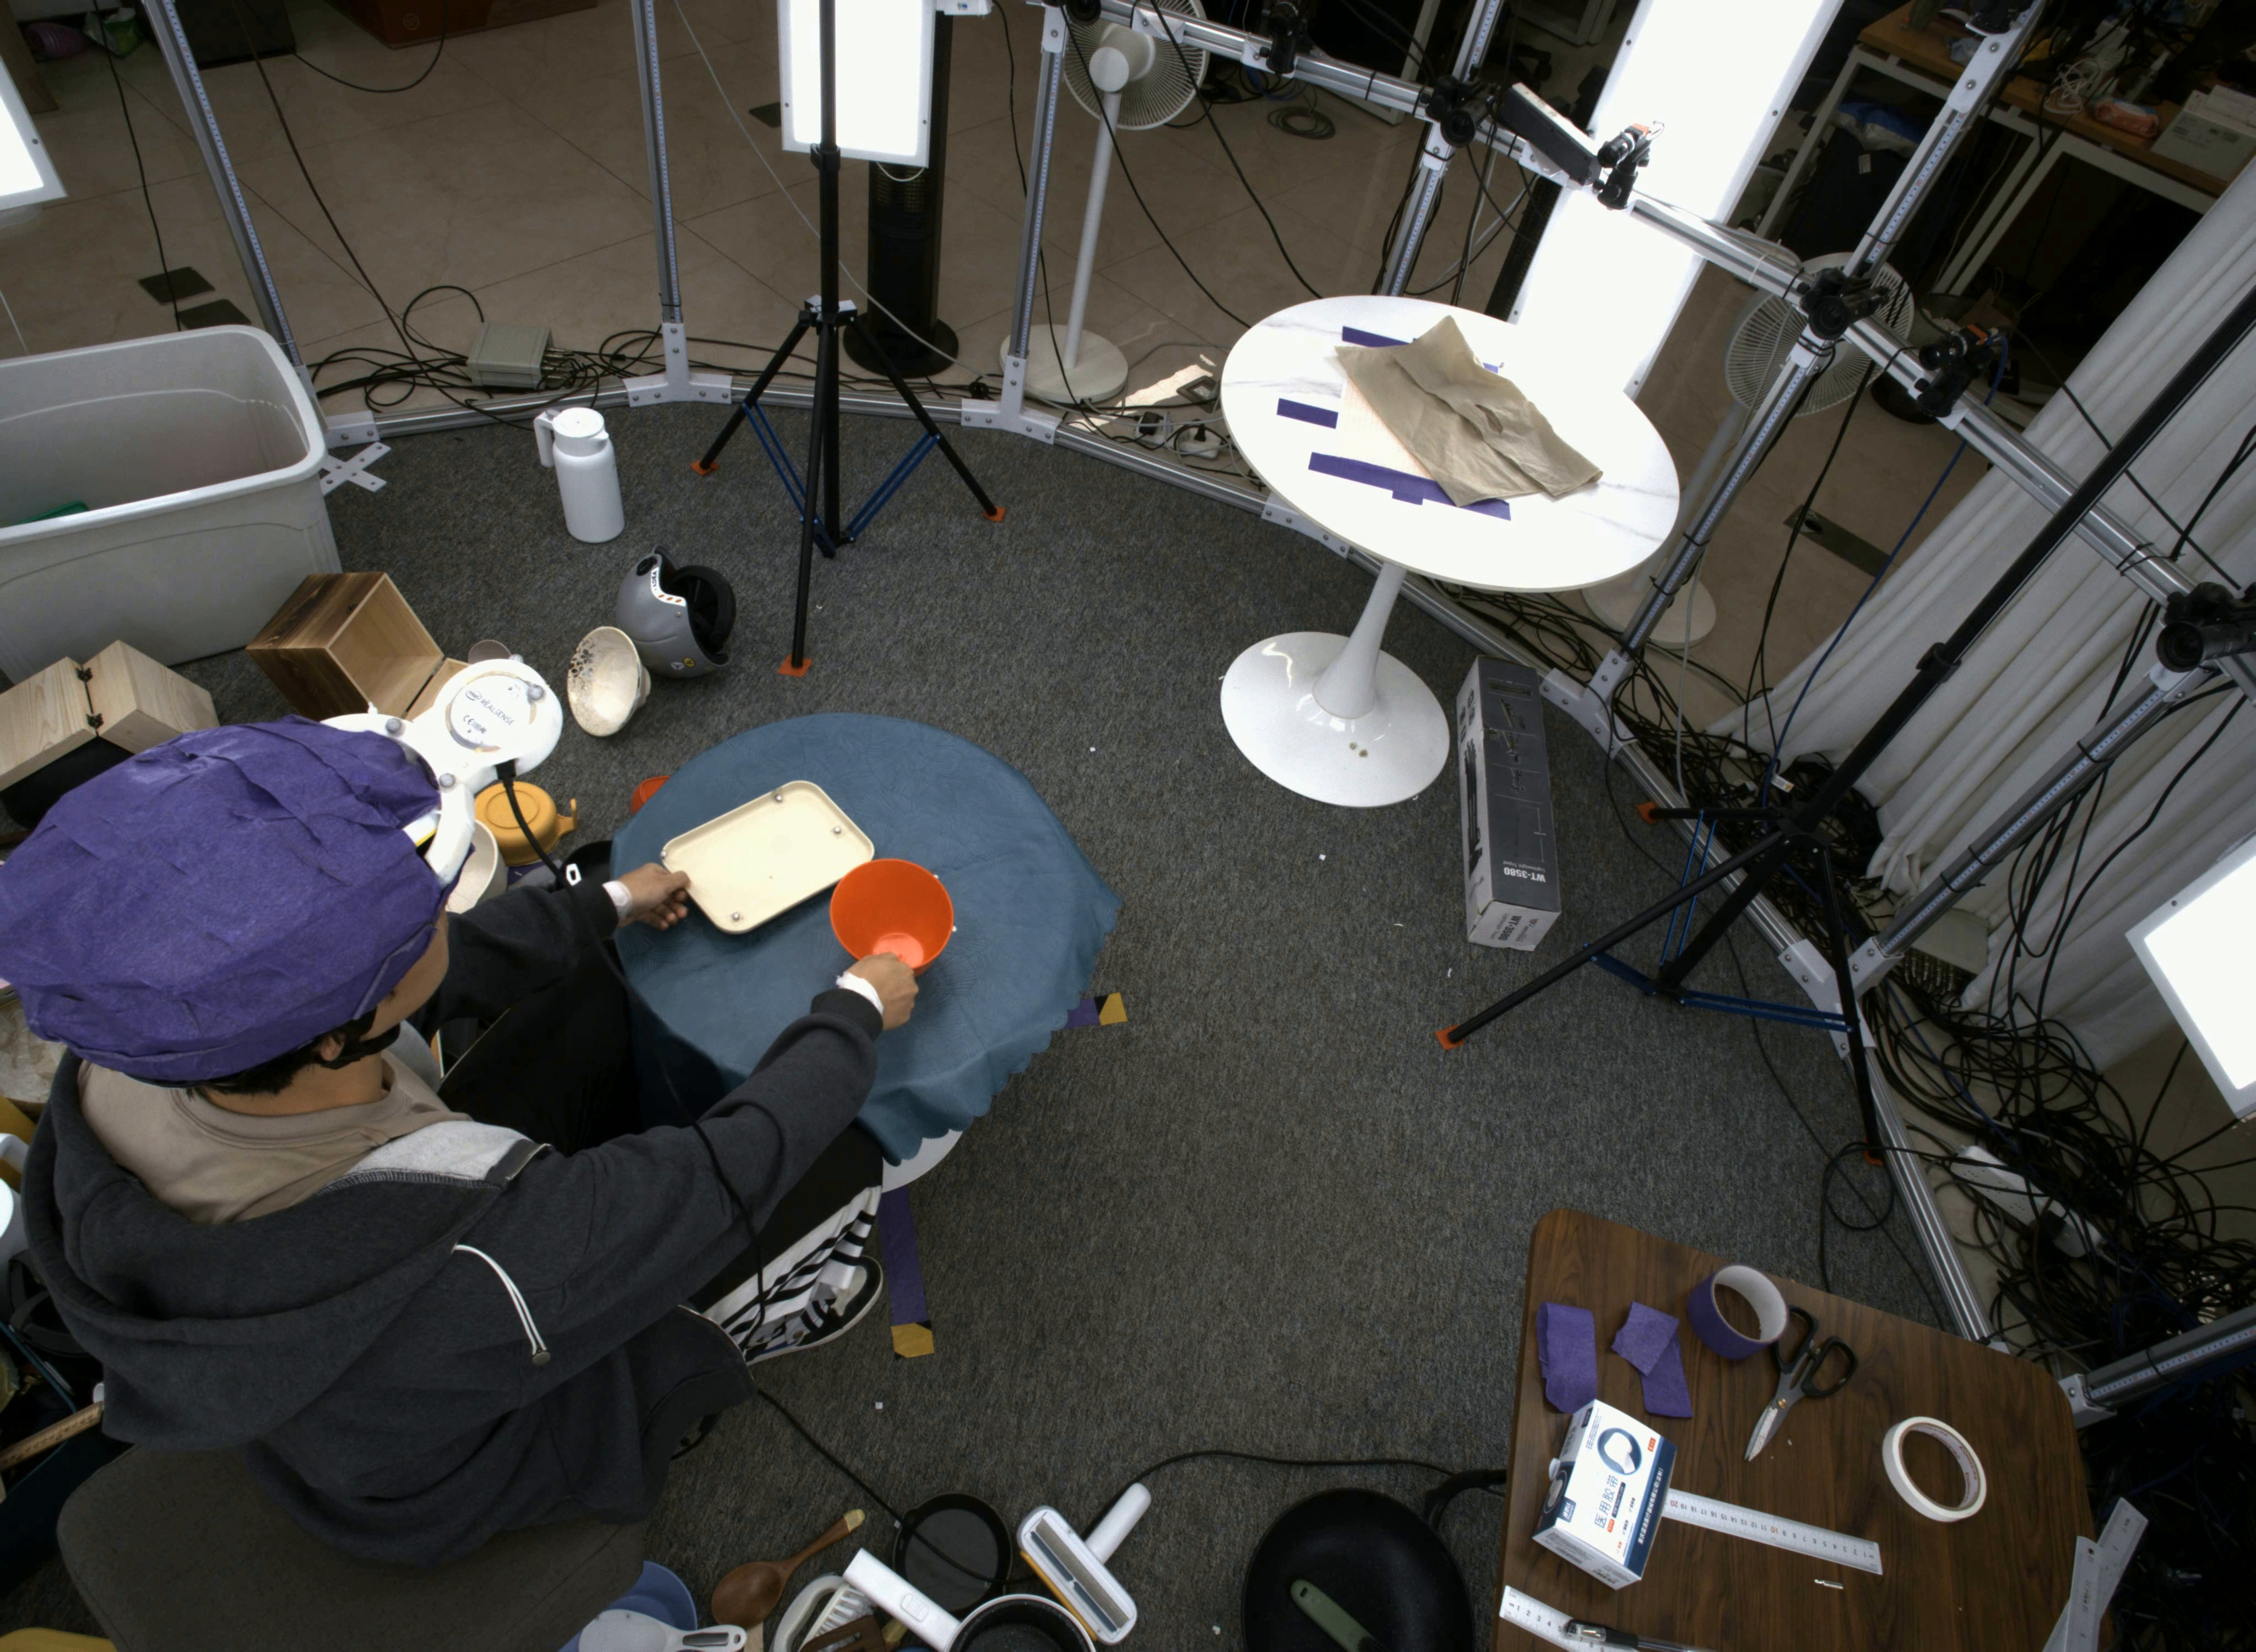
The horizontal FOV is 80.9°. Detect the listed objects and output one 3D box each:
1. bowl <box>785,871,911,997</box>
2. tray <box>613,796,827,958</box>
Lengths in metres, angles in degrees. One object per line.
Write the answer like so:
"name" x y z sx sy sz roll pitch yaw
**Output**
"bowl" -0.337 0.142 1.576 0.147 0.107 0.145 7 52 -8
"tray" -0.516 0.060 1.637 0.168 0.018 0.240 41 50 16
